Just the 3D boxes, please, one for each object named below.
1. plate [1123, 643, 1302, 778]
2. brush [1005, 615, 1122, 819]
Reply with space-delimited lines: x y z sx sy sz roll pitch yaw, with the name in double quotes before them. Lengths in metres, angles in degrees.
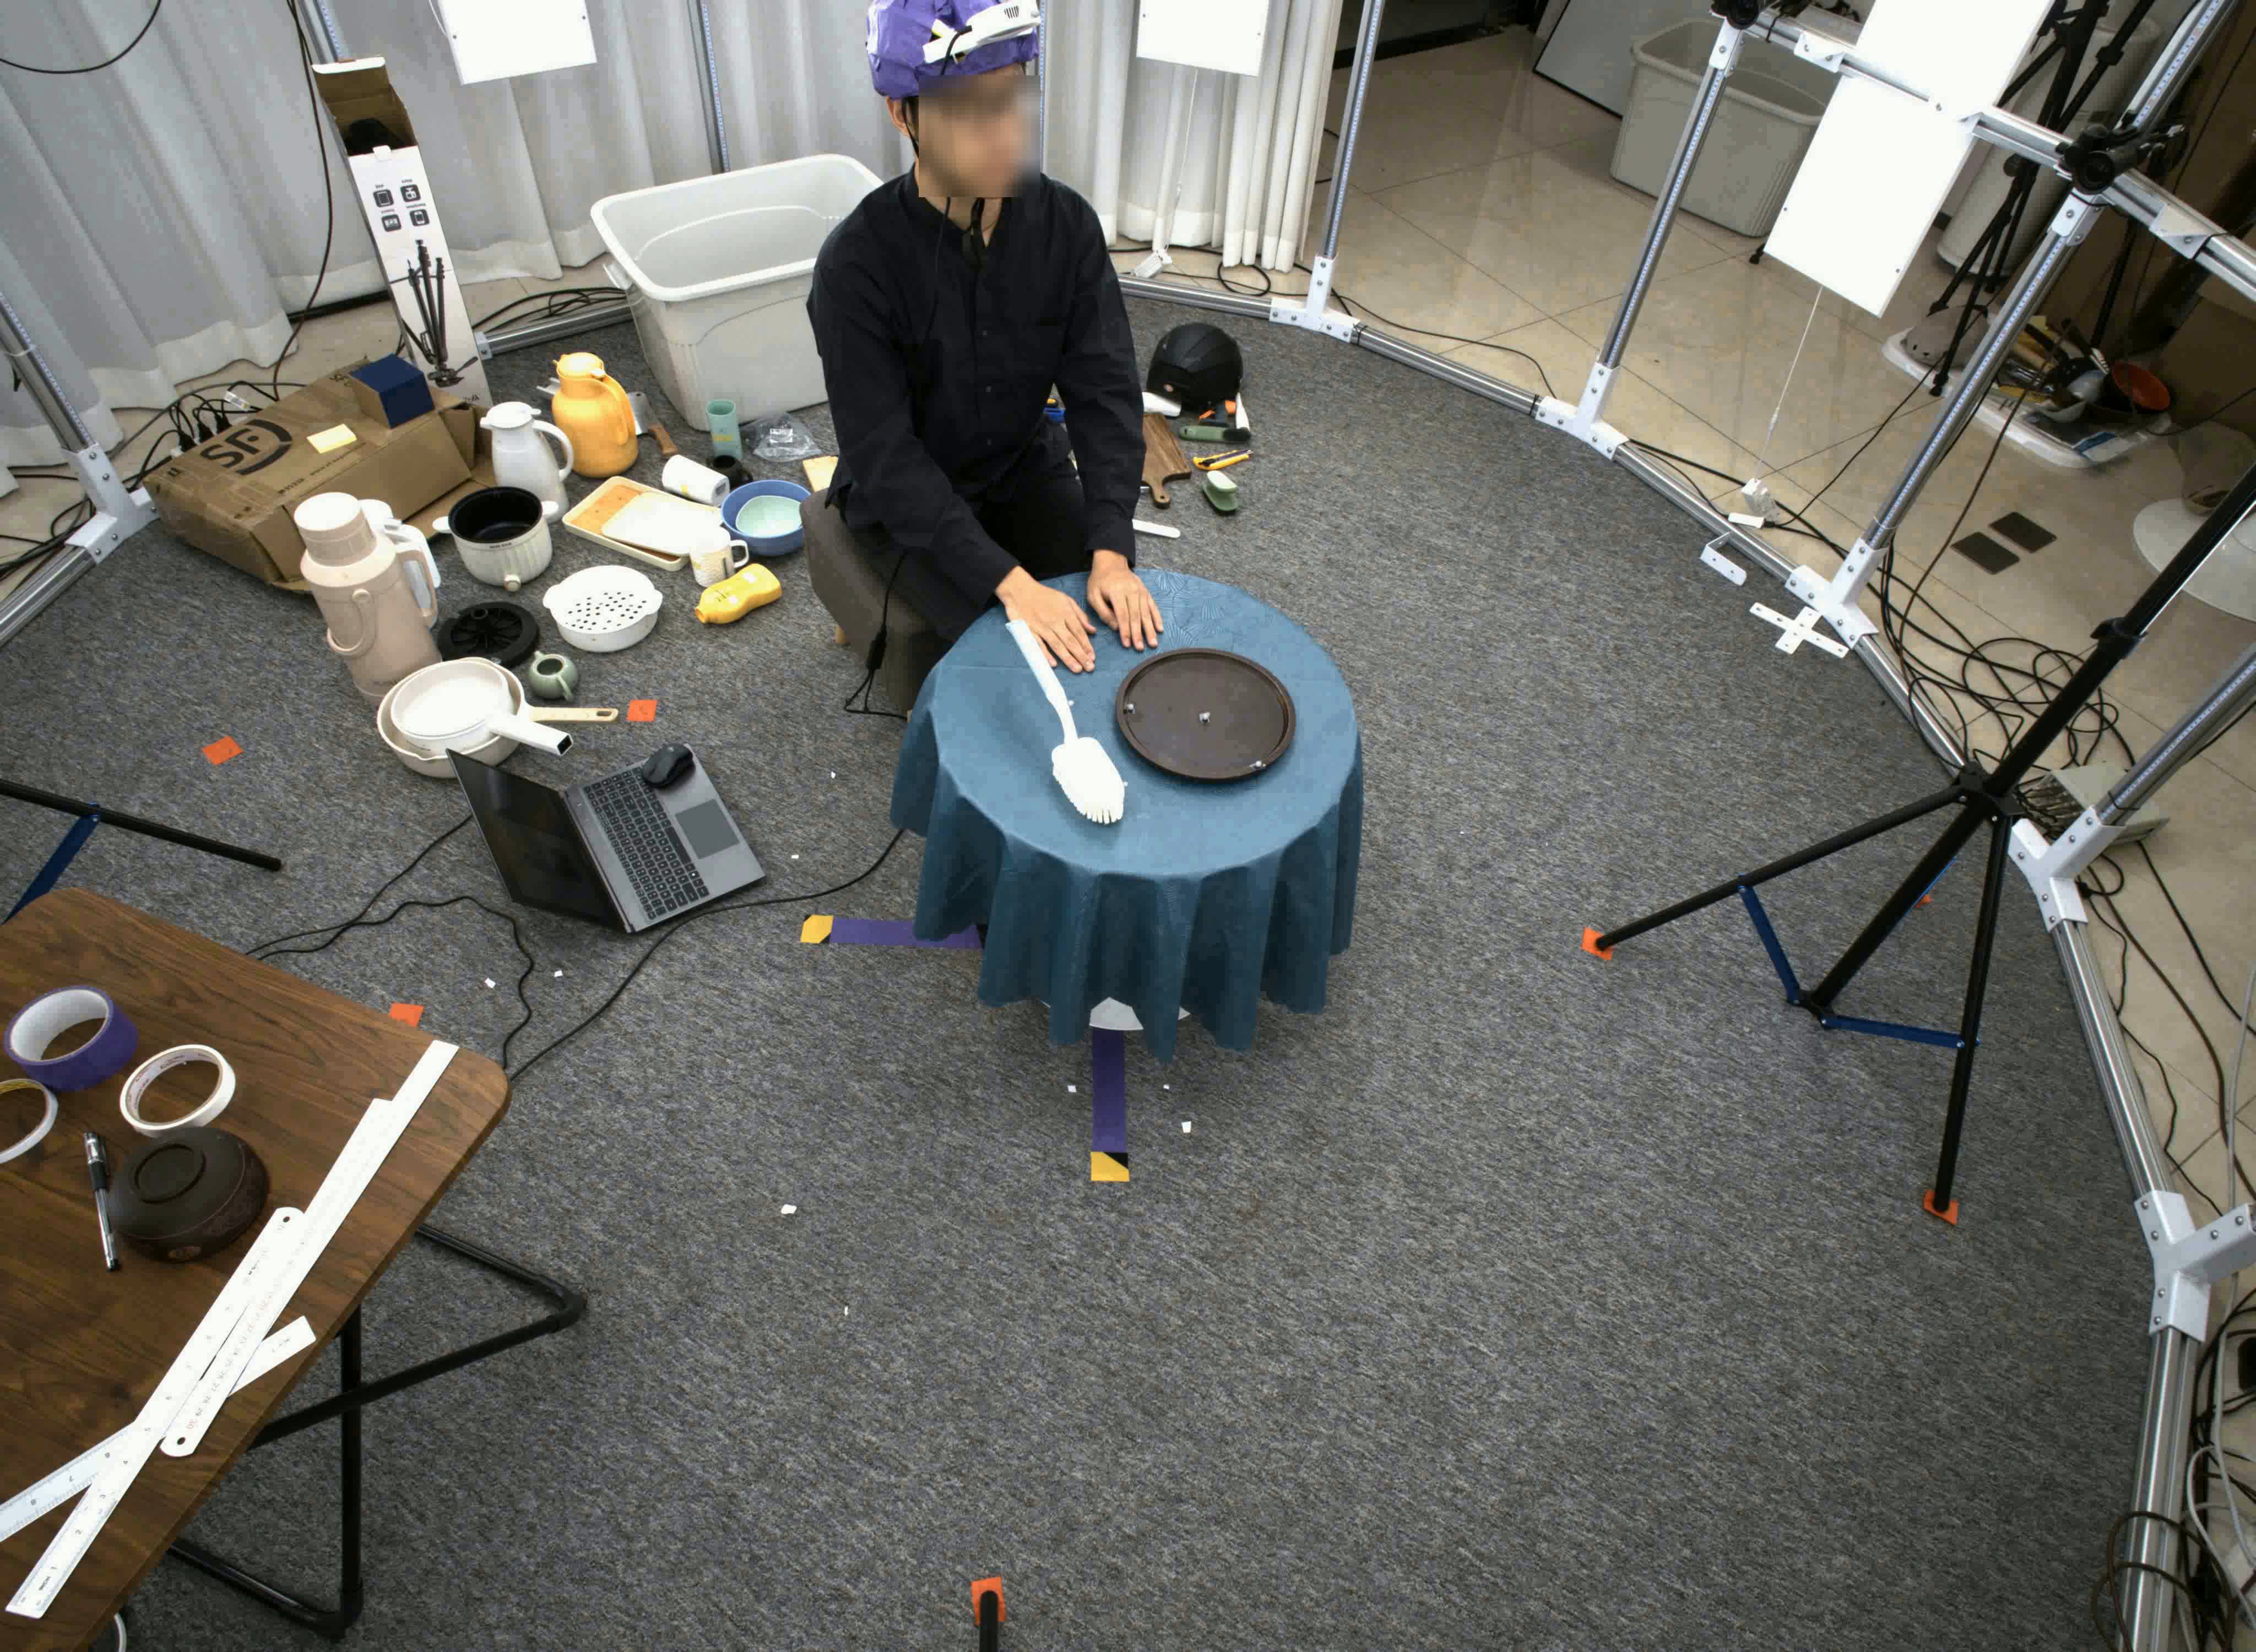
"plate" 0.119 -0.164 1.803 0.254 0.028 0.261 1 50 -2
"brush" -0.090 -0.145 1.734 0.082 0.083 0.331 5 50 -52
